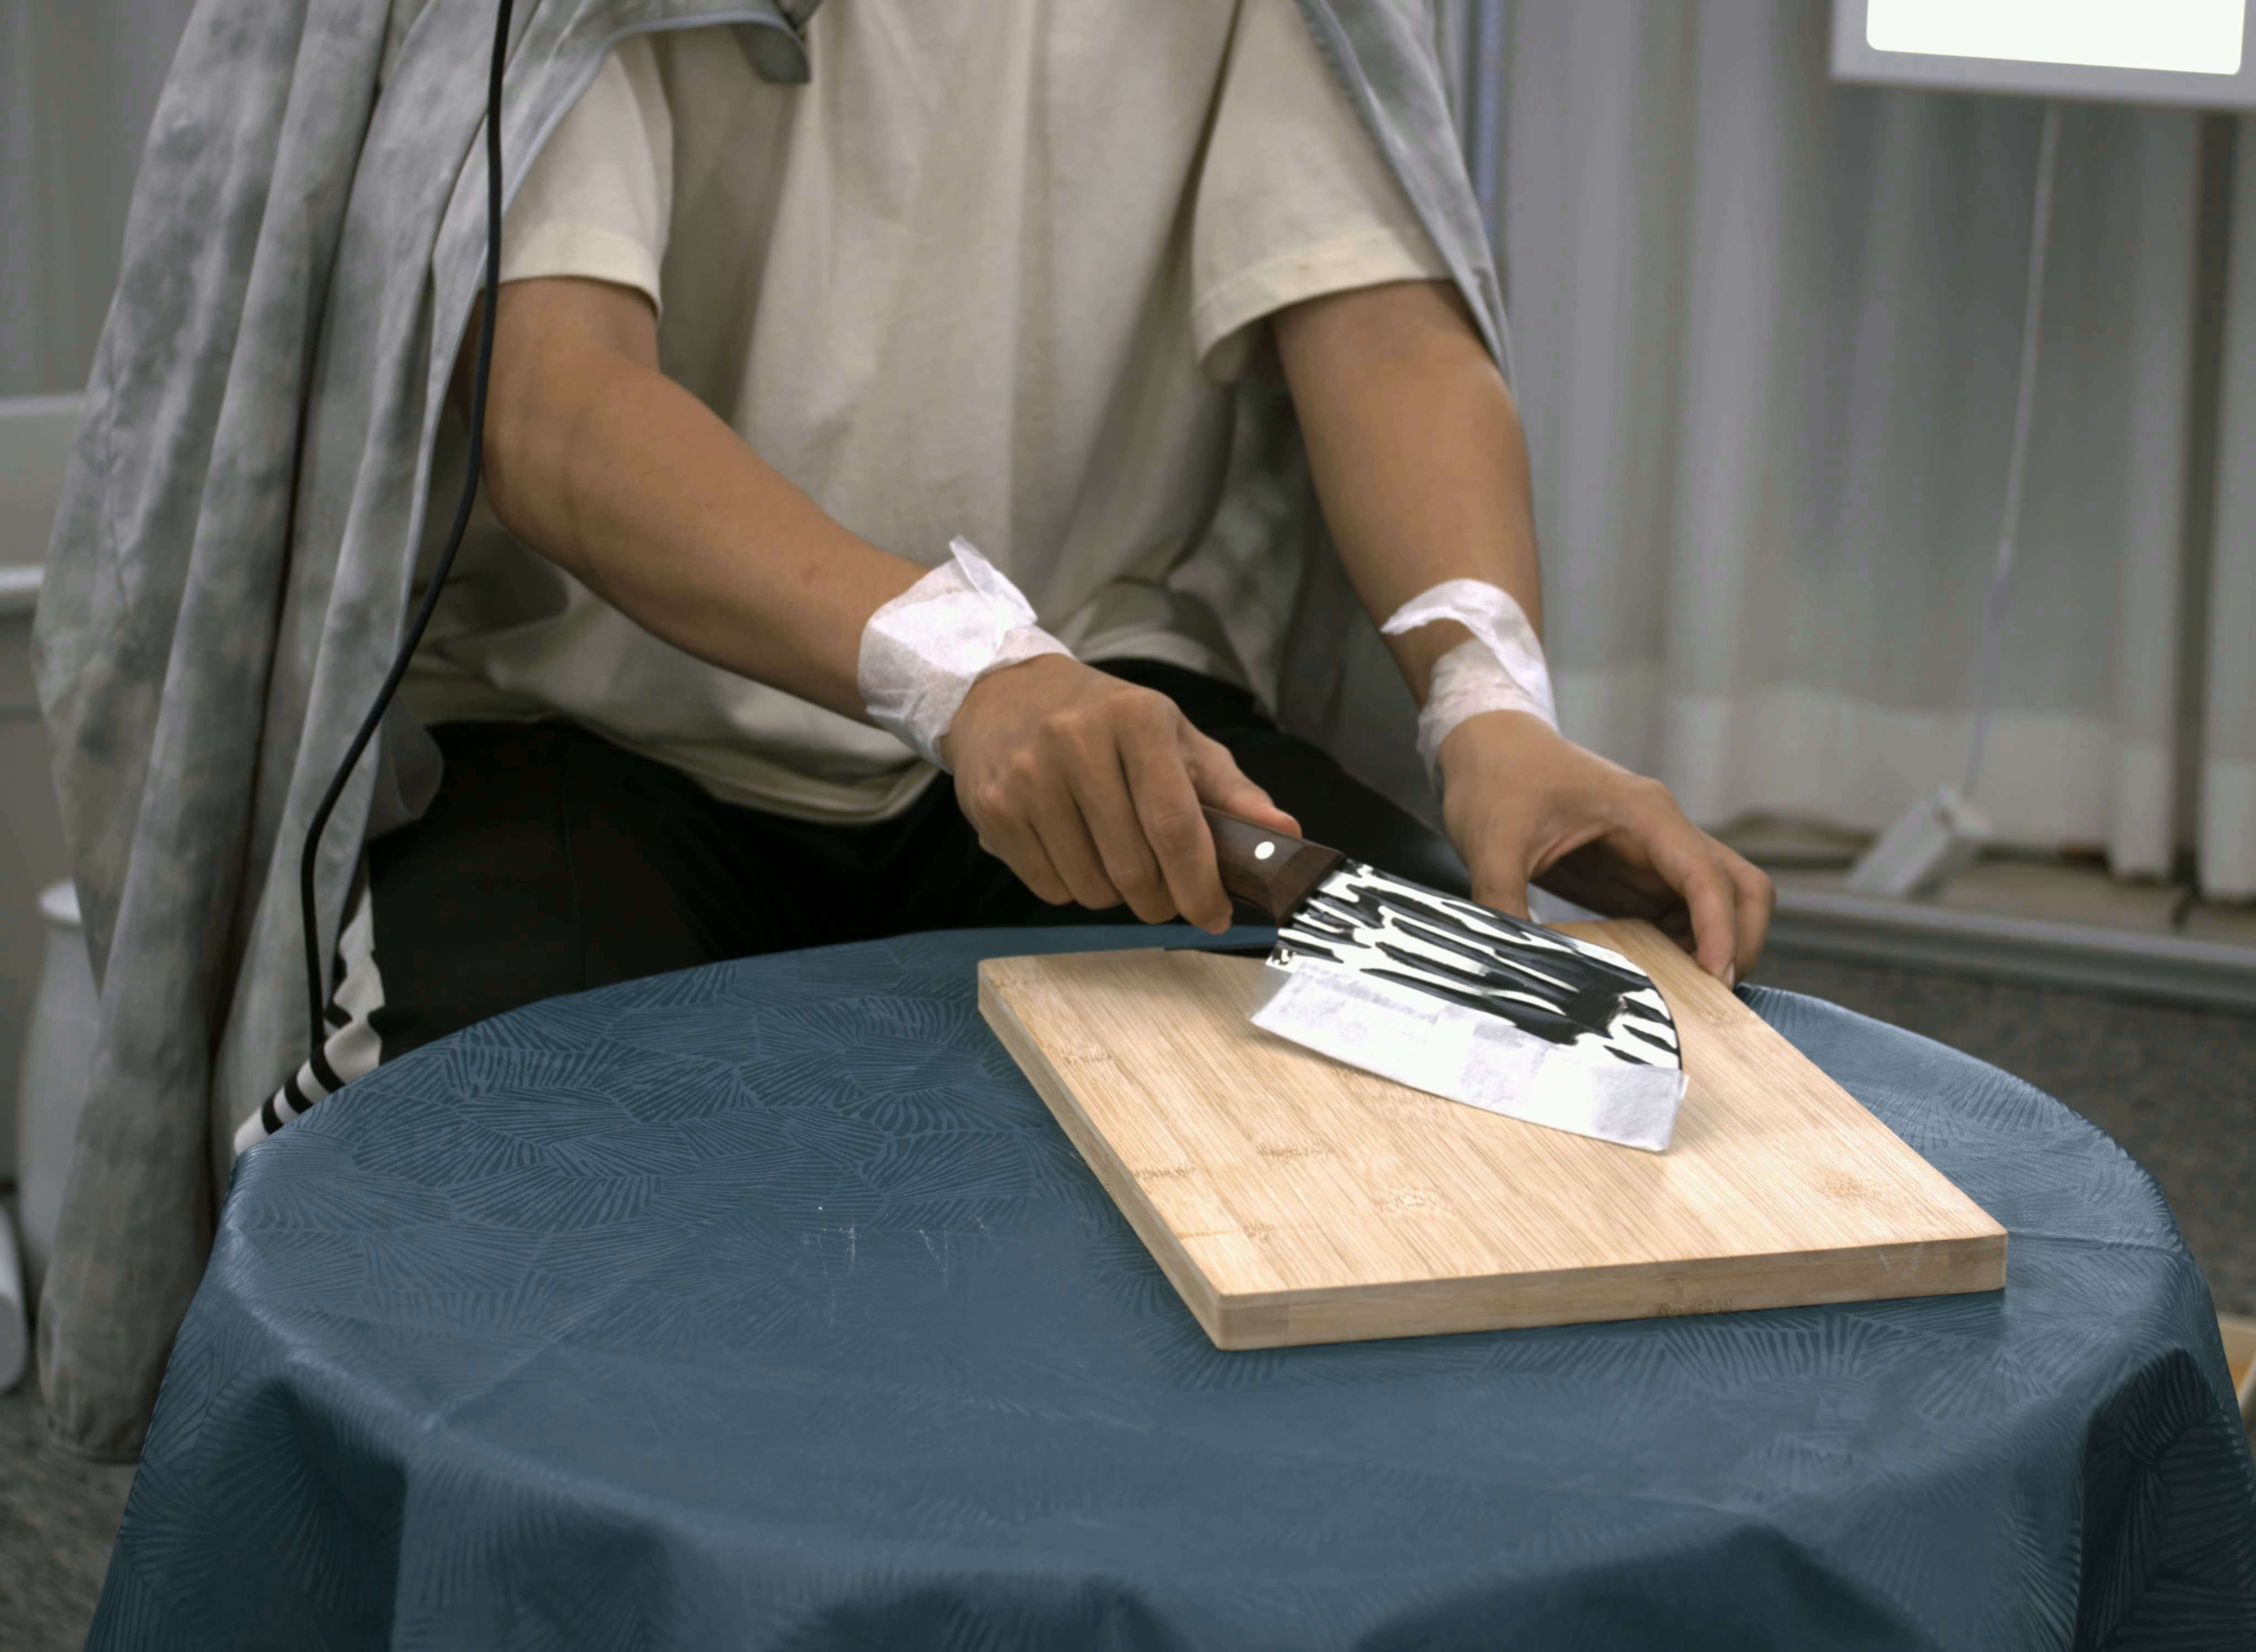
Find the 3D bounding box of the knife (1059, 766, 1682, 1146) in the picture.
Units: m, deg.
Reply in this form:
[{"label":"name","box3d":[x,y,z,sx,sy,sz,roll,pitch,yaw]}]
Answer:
[{"label":"knife","box3d":[0.072,0.041,1.713,0.295,0.024,0.068,21,68,41]}]

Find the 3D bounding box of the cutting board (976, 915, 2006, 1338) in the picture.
[{"label":"cutting board","box3d":[0.103,0.090,1.681,0.251,0.024,0.345,-3,16,-14]}]
